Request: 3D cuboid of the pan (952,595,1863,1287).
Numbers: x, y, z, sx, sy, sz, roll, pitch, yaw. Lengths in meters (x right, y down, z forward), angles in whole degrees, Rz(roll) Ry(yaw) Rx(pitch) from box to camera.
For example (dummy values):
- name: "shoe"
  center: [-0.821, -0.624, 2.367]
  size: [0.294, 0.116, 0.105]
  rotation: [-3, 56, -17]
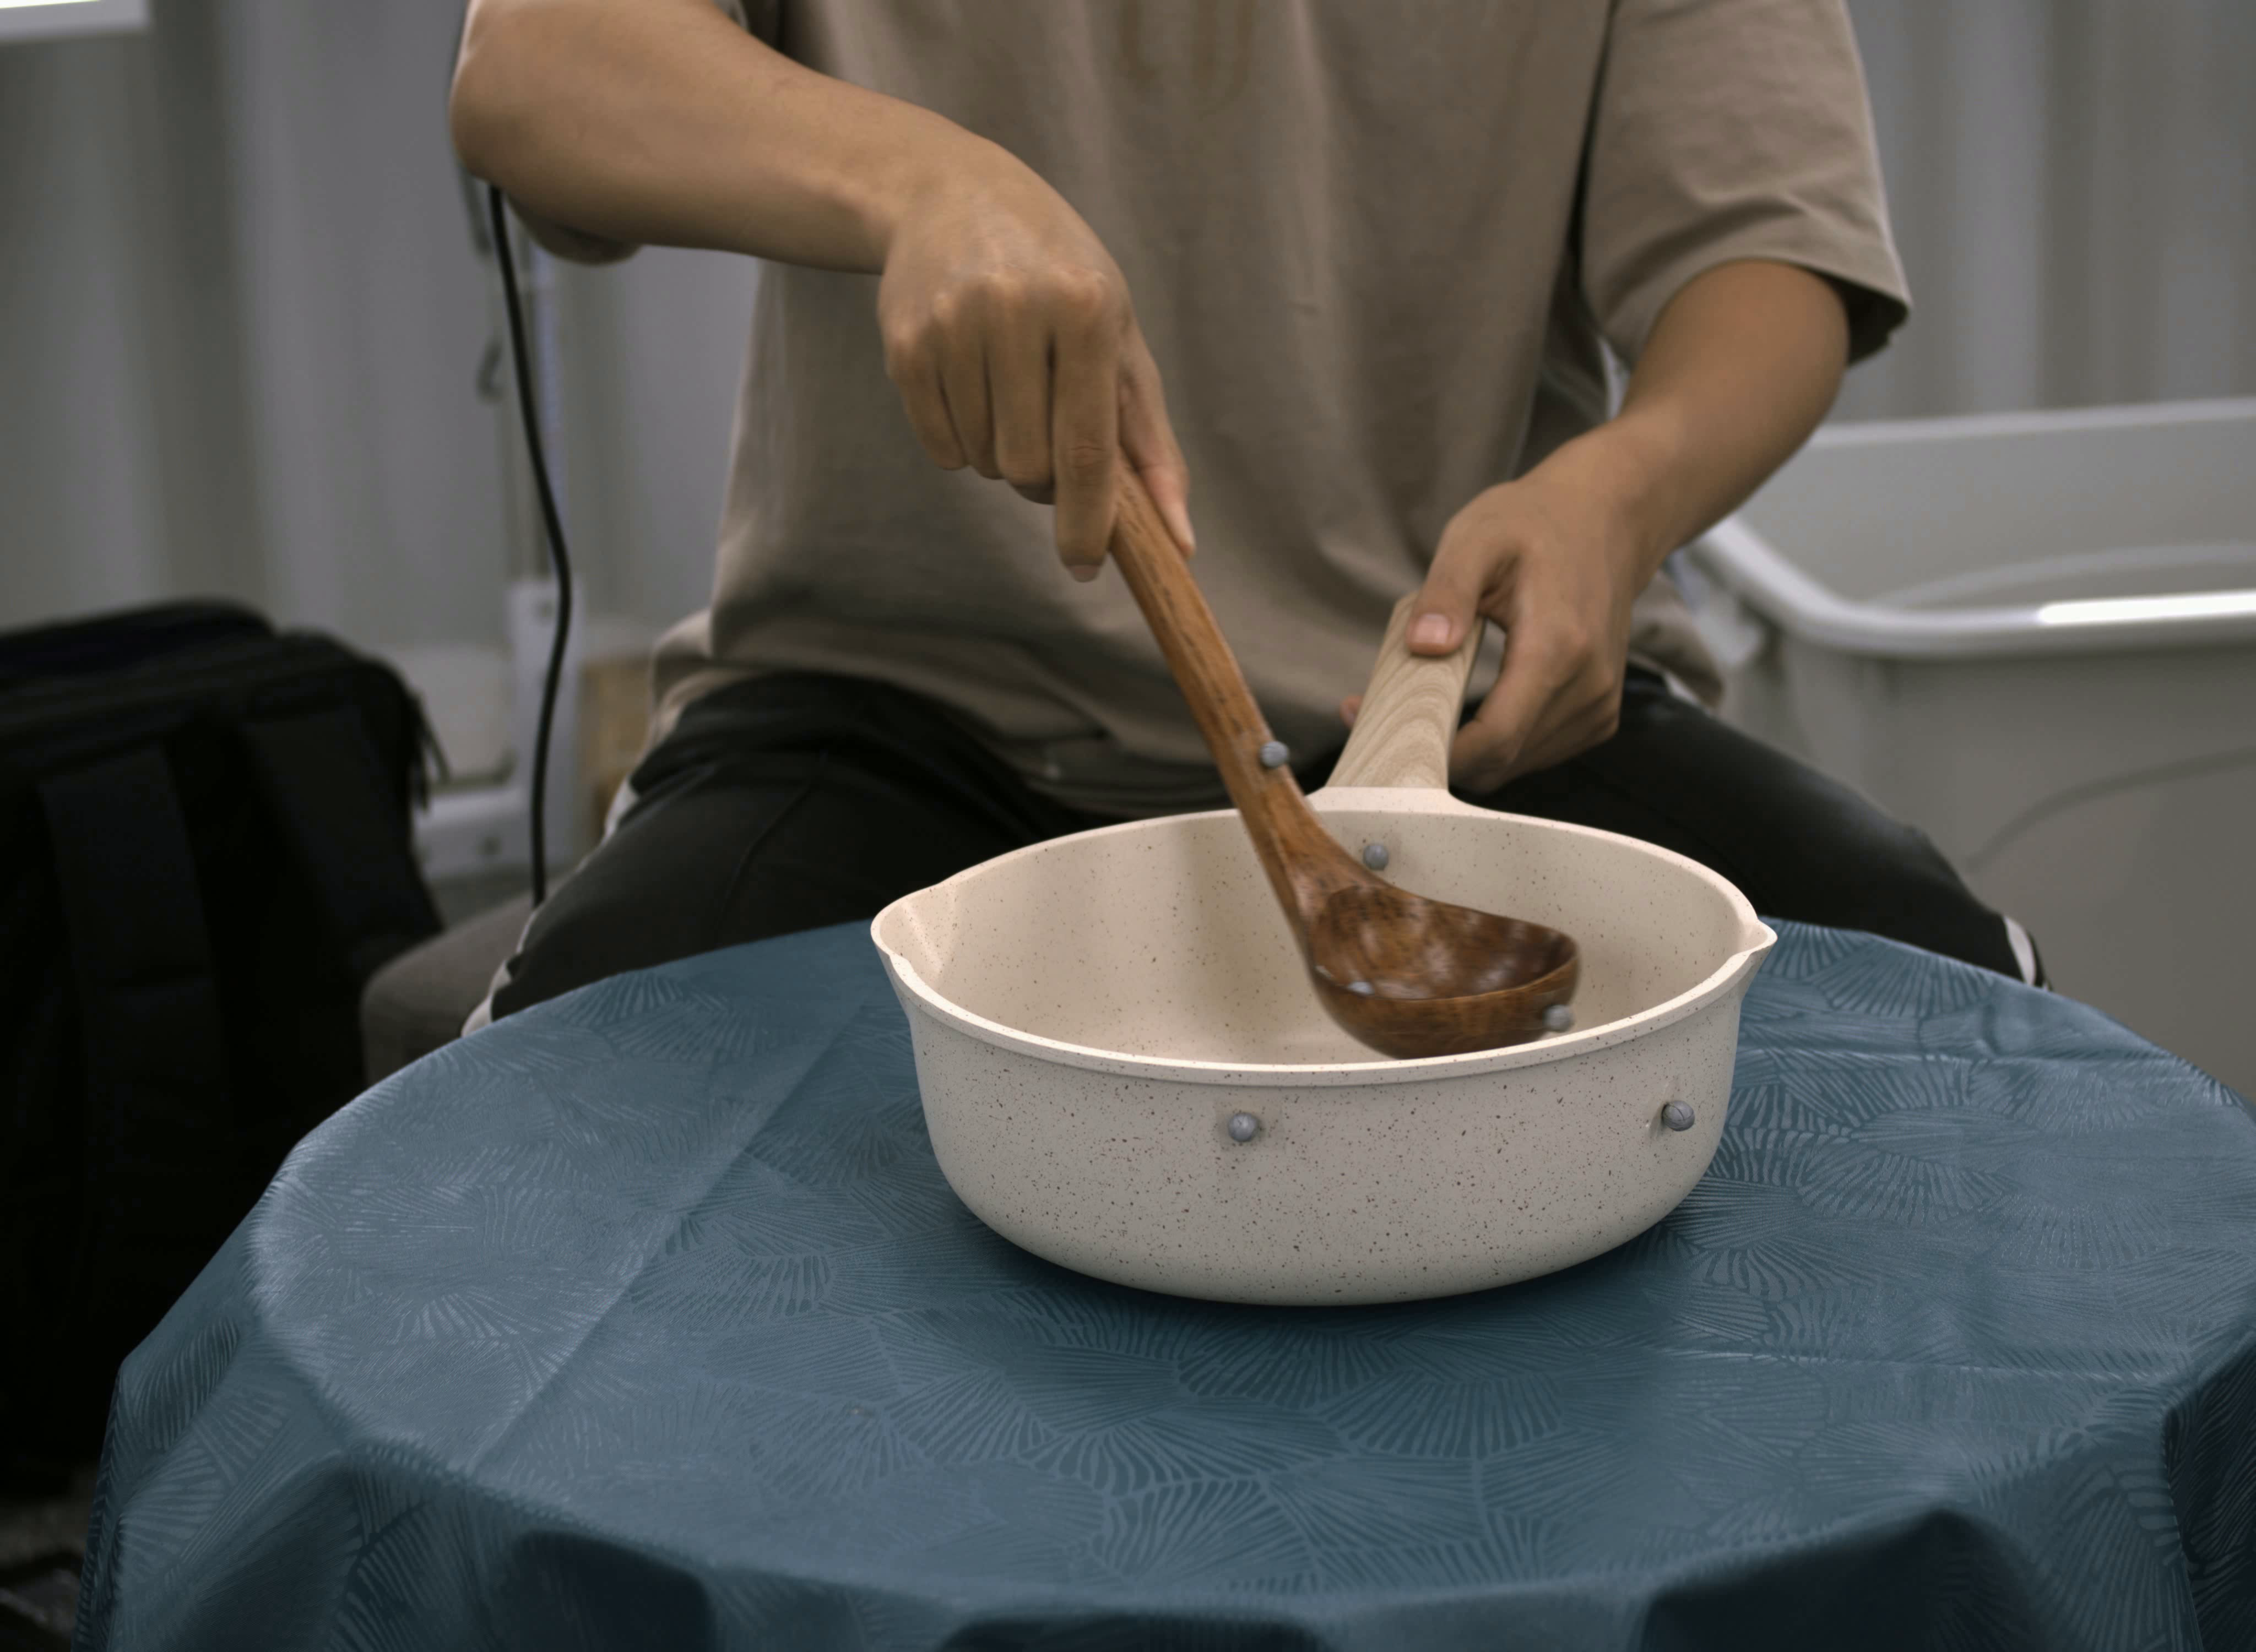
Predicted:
- name: "pan"
  center: [0.095, 0.031, 1.620]
  size: [0.264, 0.102, 0.433]
  rotation: [-1, 16, 11]

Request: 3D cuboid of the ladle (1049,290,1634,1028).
- name: "ladle"
  center: [0.061, -0.052, 1.579]
  size: [0.080, 0.276, 0.077]
  rotation: [-15, -15, -47]
